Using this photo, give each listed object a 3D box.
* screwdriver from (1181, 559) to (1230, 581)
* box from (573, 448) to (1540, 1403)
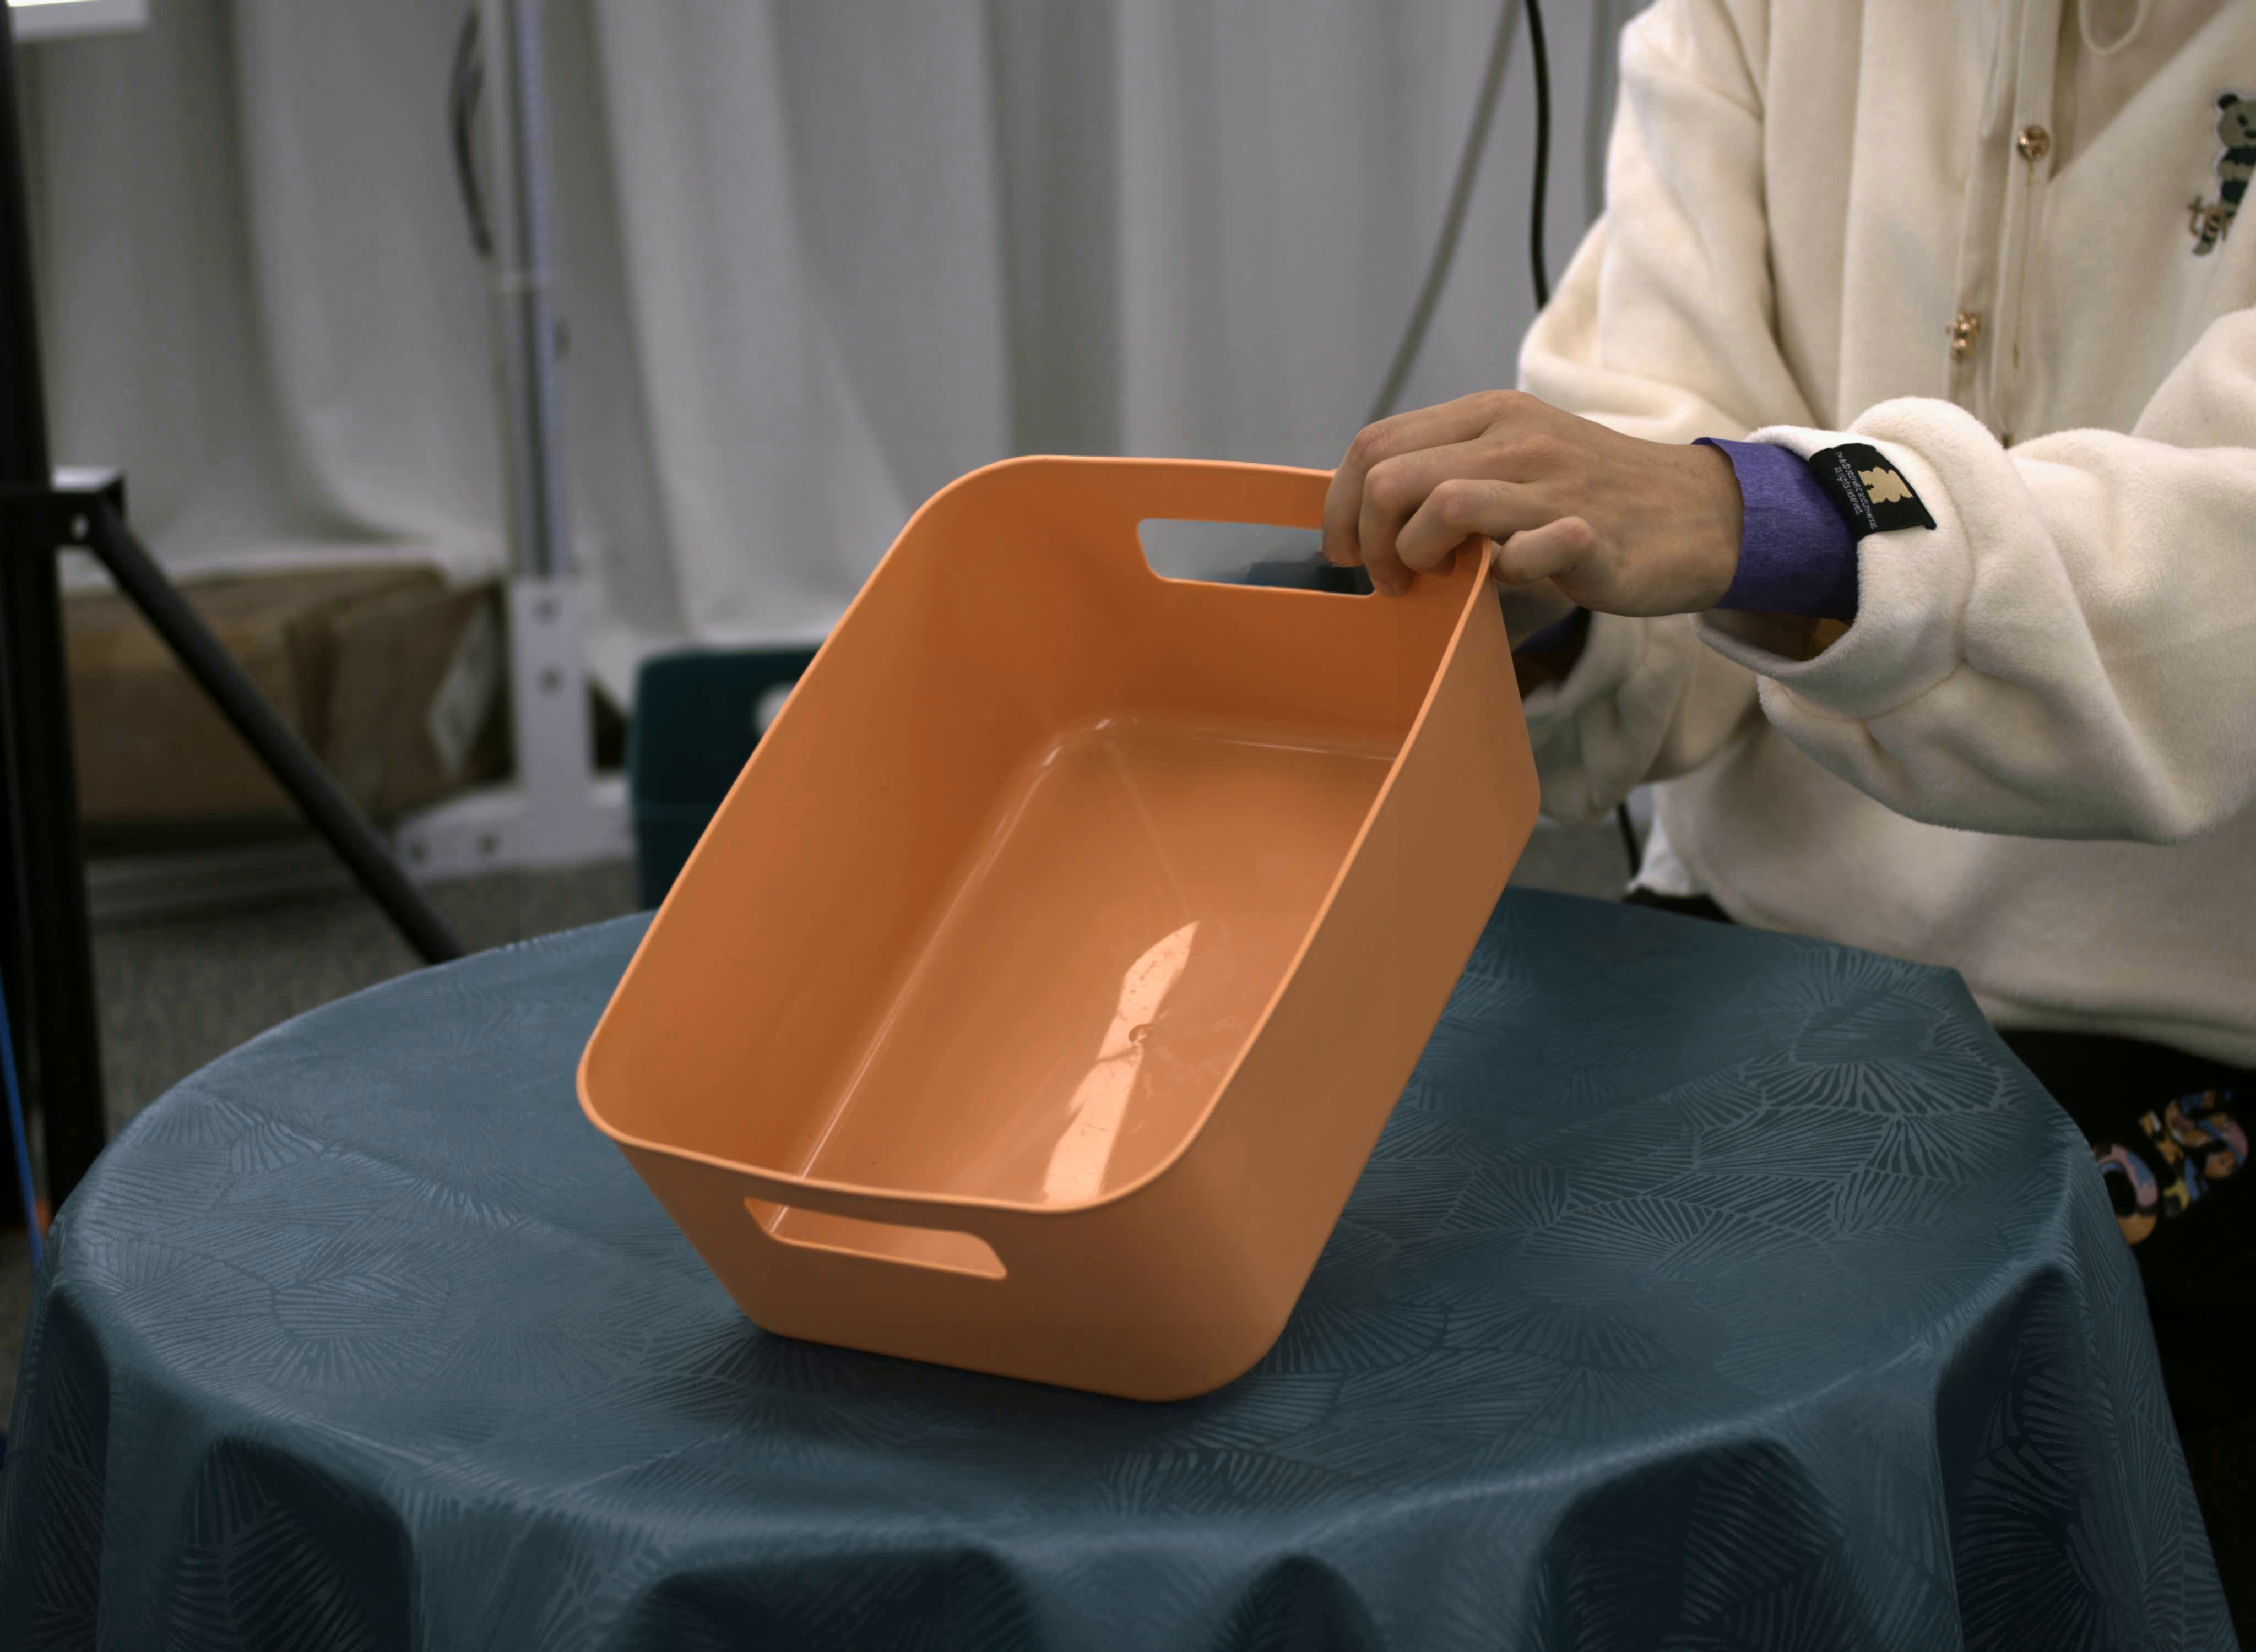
[{"bbox_3d":[0.055,-0.074,1.617,0.032,0.031,0.193,7,4,28],"label":"screwdriver"},{"bbox_3d":[-0.008,0.027,1.463,0.203,0.101,0.272,5,49,31],"label":"box"}]
